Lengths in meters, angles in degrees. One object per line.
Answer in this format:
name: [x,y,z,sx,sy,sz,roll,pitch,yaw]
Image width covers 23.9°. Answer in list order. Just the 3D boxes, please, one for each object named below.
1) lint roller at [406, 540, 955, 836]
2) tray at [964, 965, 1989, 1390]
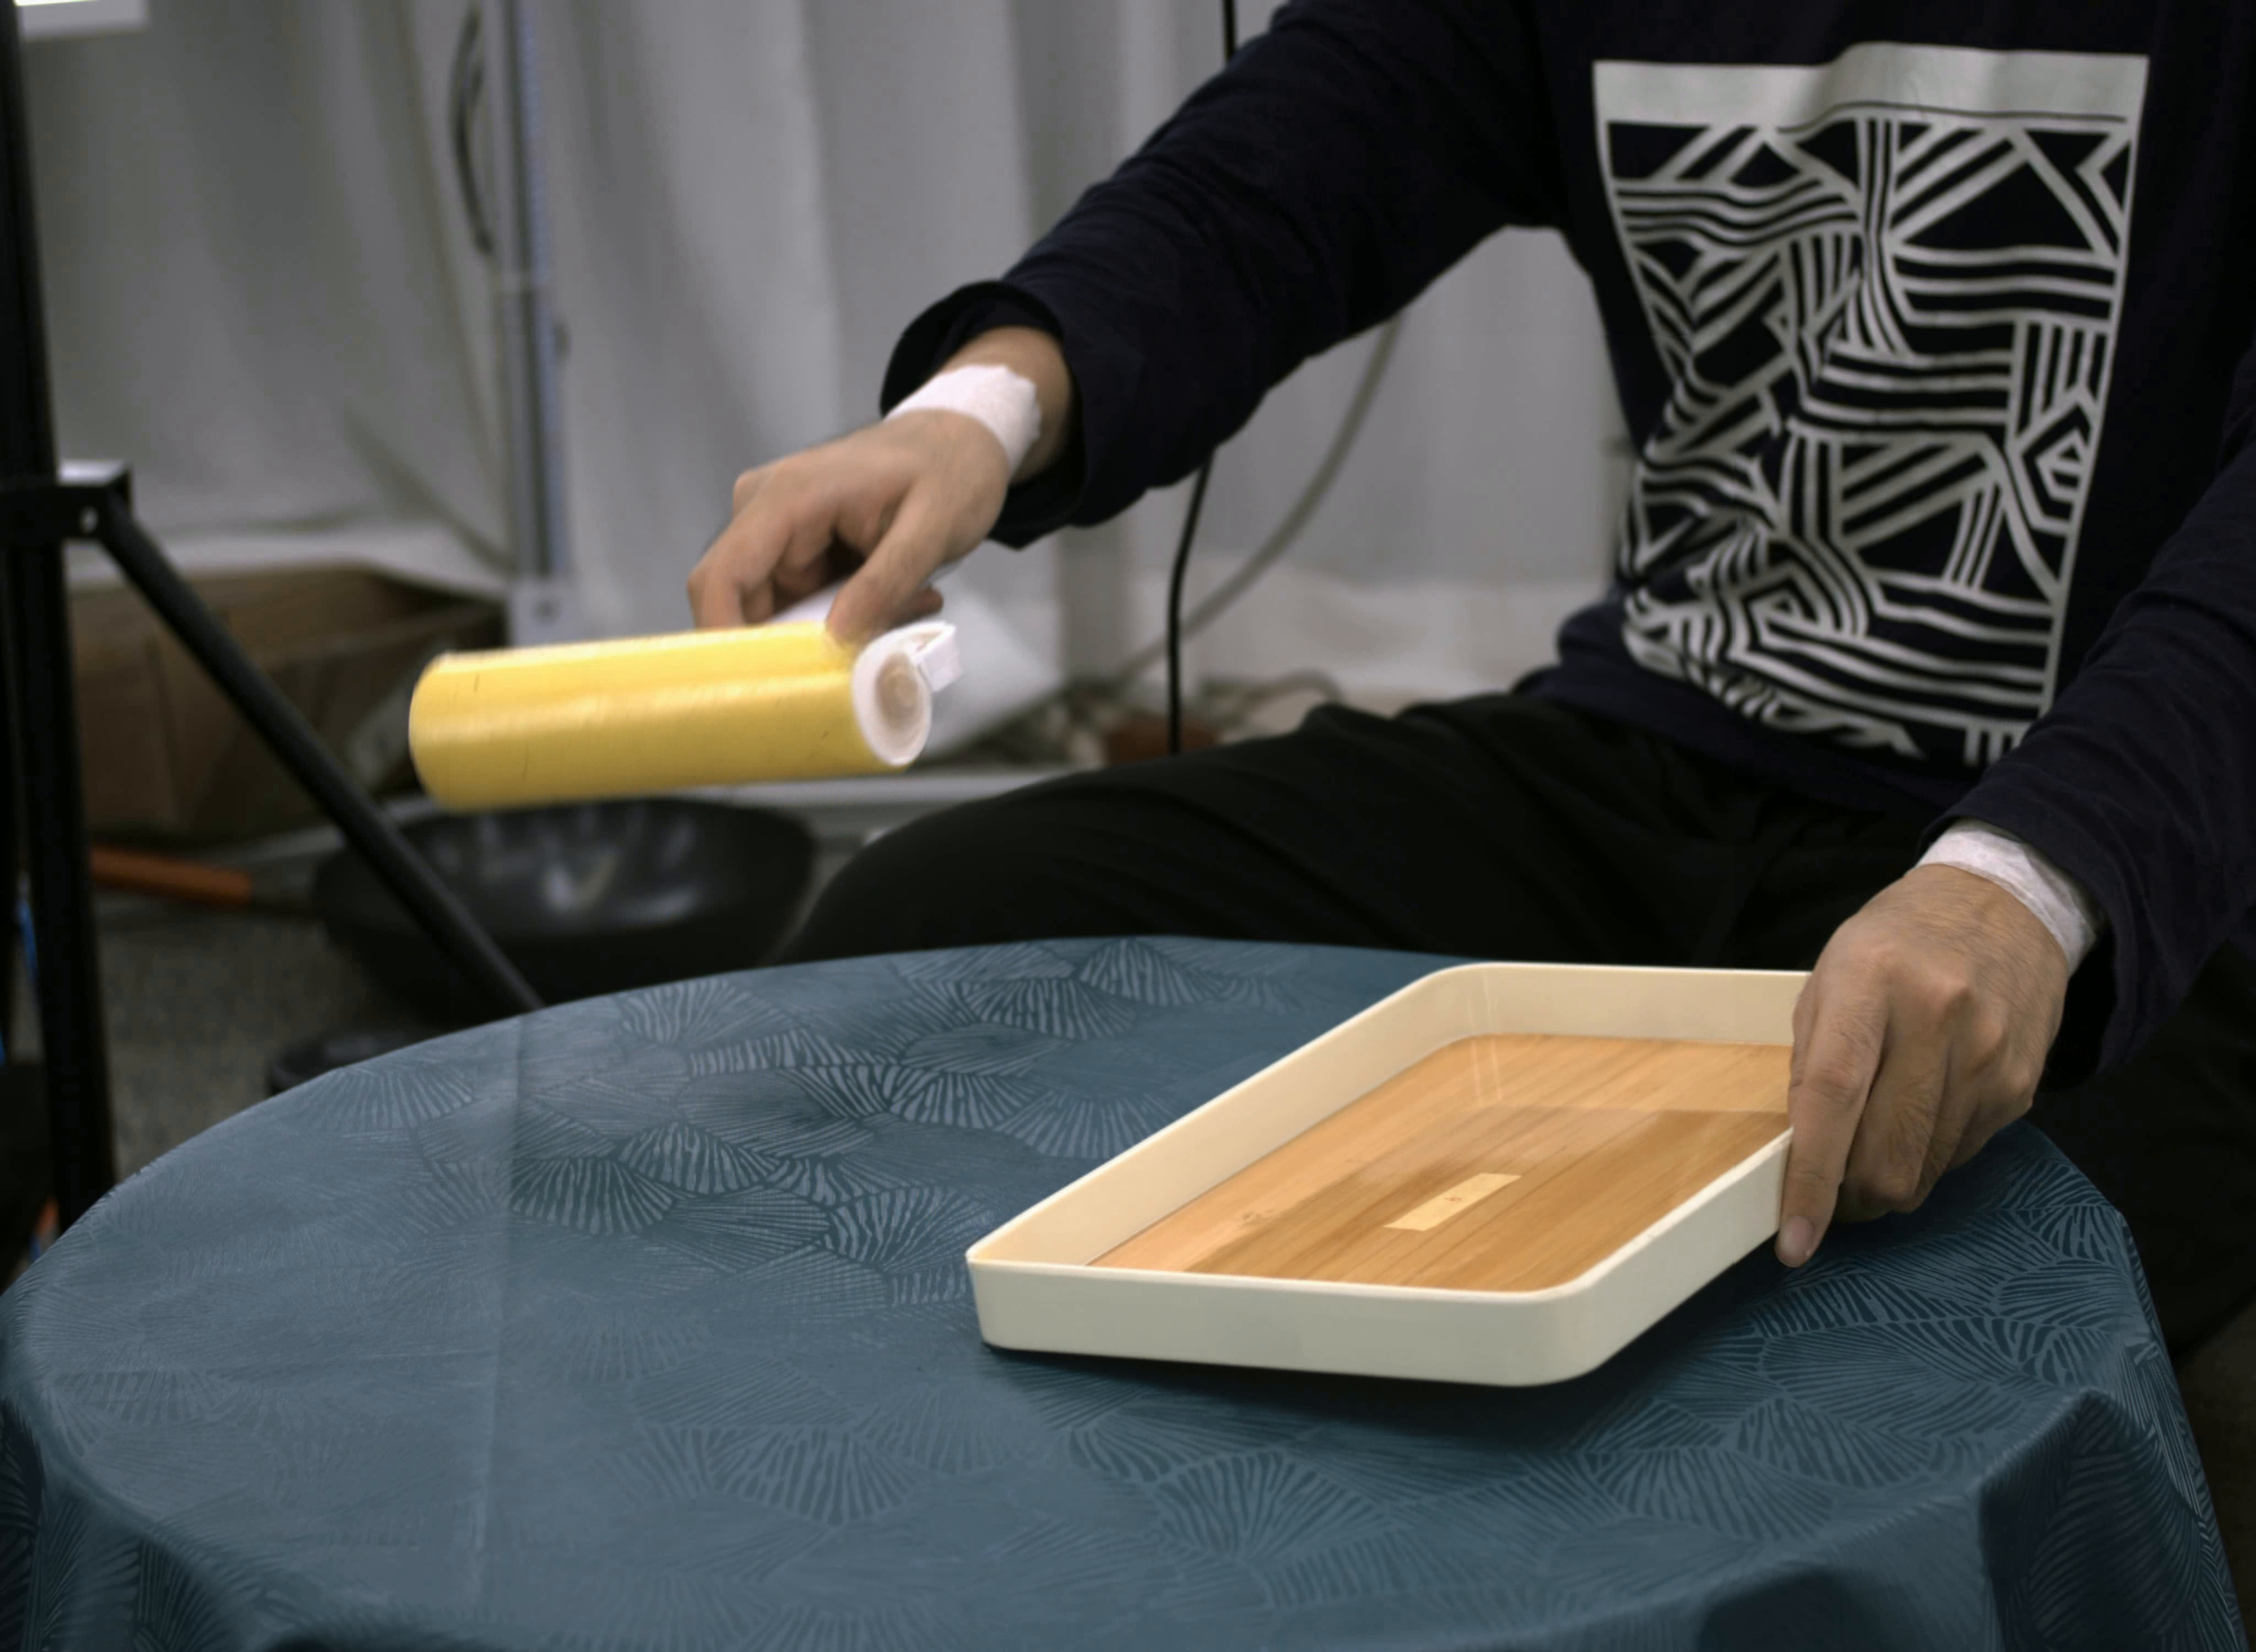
lint roller: [-0.113,-0.061,1.670,0.177,0.051,0.190,-8,26,30]
tray: [0.106,0.095,1.507,0.195,0.027,0.295,1,15,33]
